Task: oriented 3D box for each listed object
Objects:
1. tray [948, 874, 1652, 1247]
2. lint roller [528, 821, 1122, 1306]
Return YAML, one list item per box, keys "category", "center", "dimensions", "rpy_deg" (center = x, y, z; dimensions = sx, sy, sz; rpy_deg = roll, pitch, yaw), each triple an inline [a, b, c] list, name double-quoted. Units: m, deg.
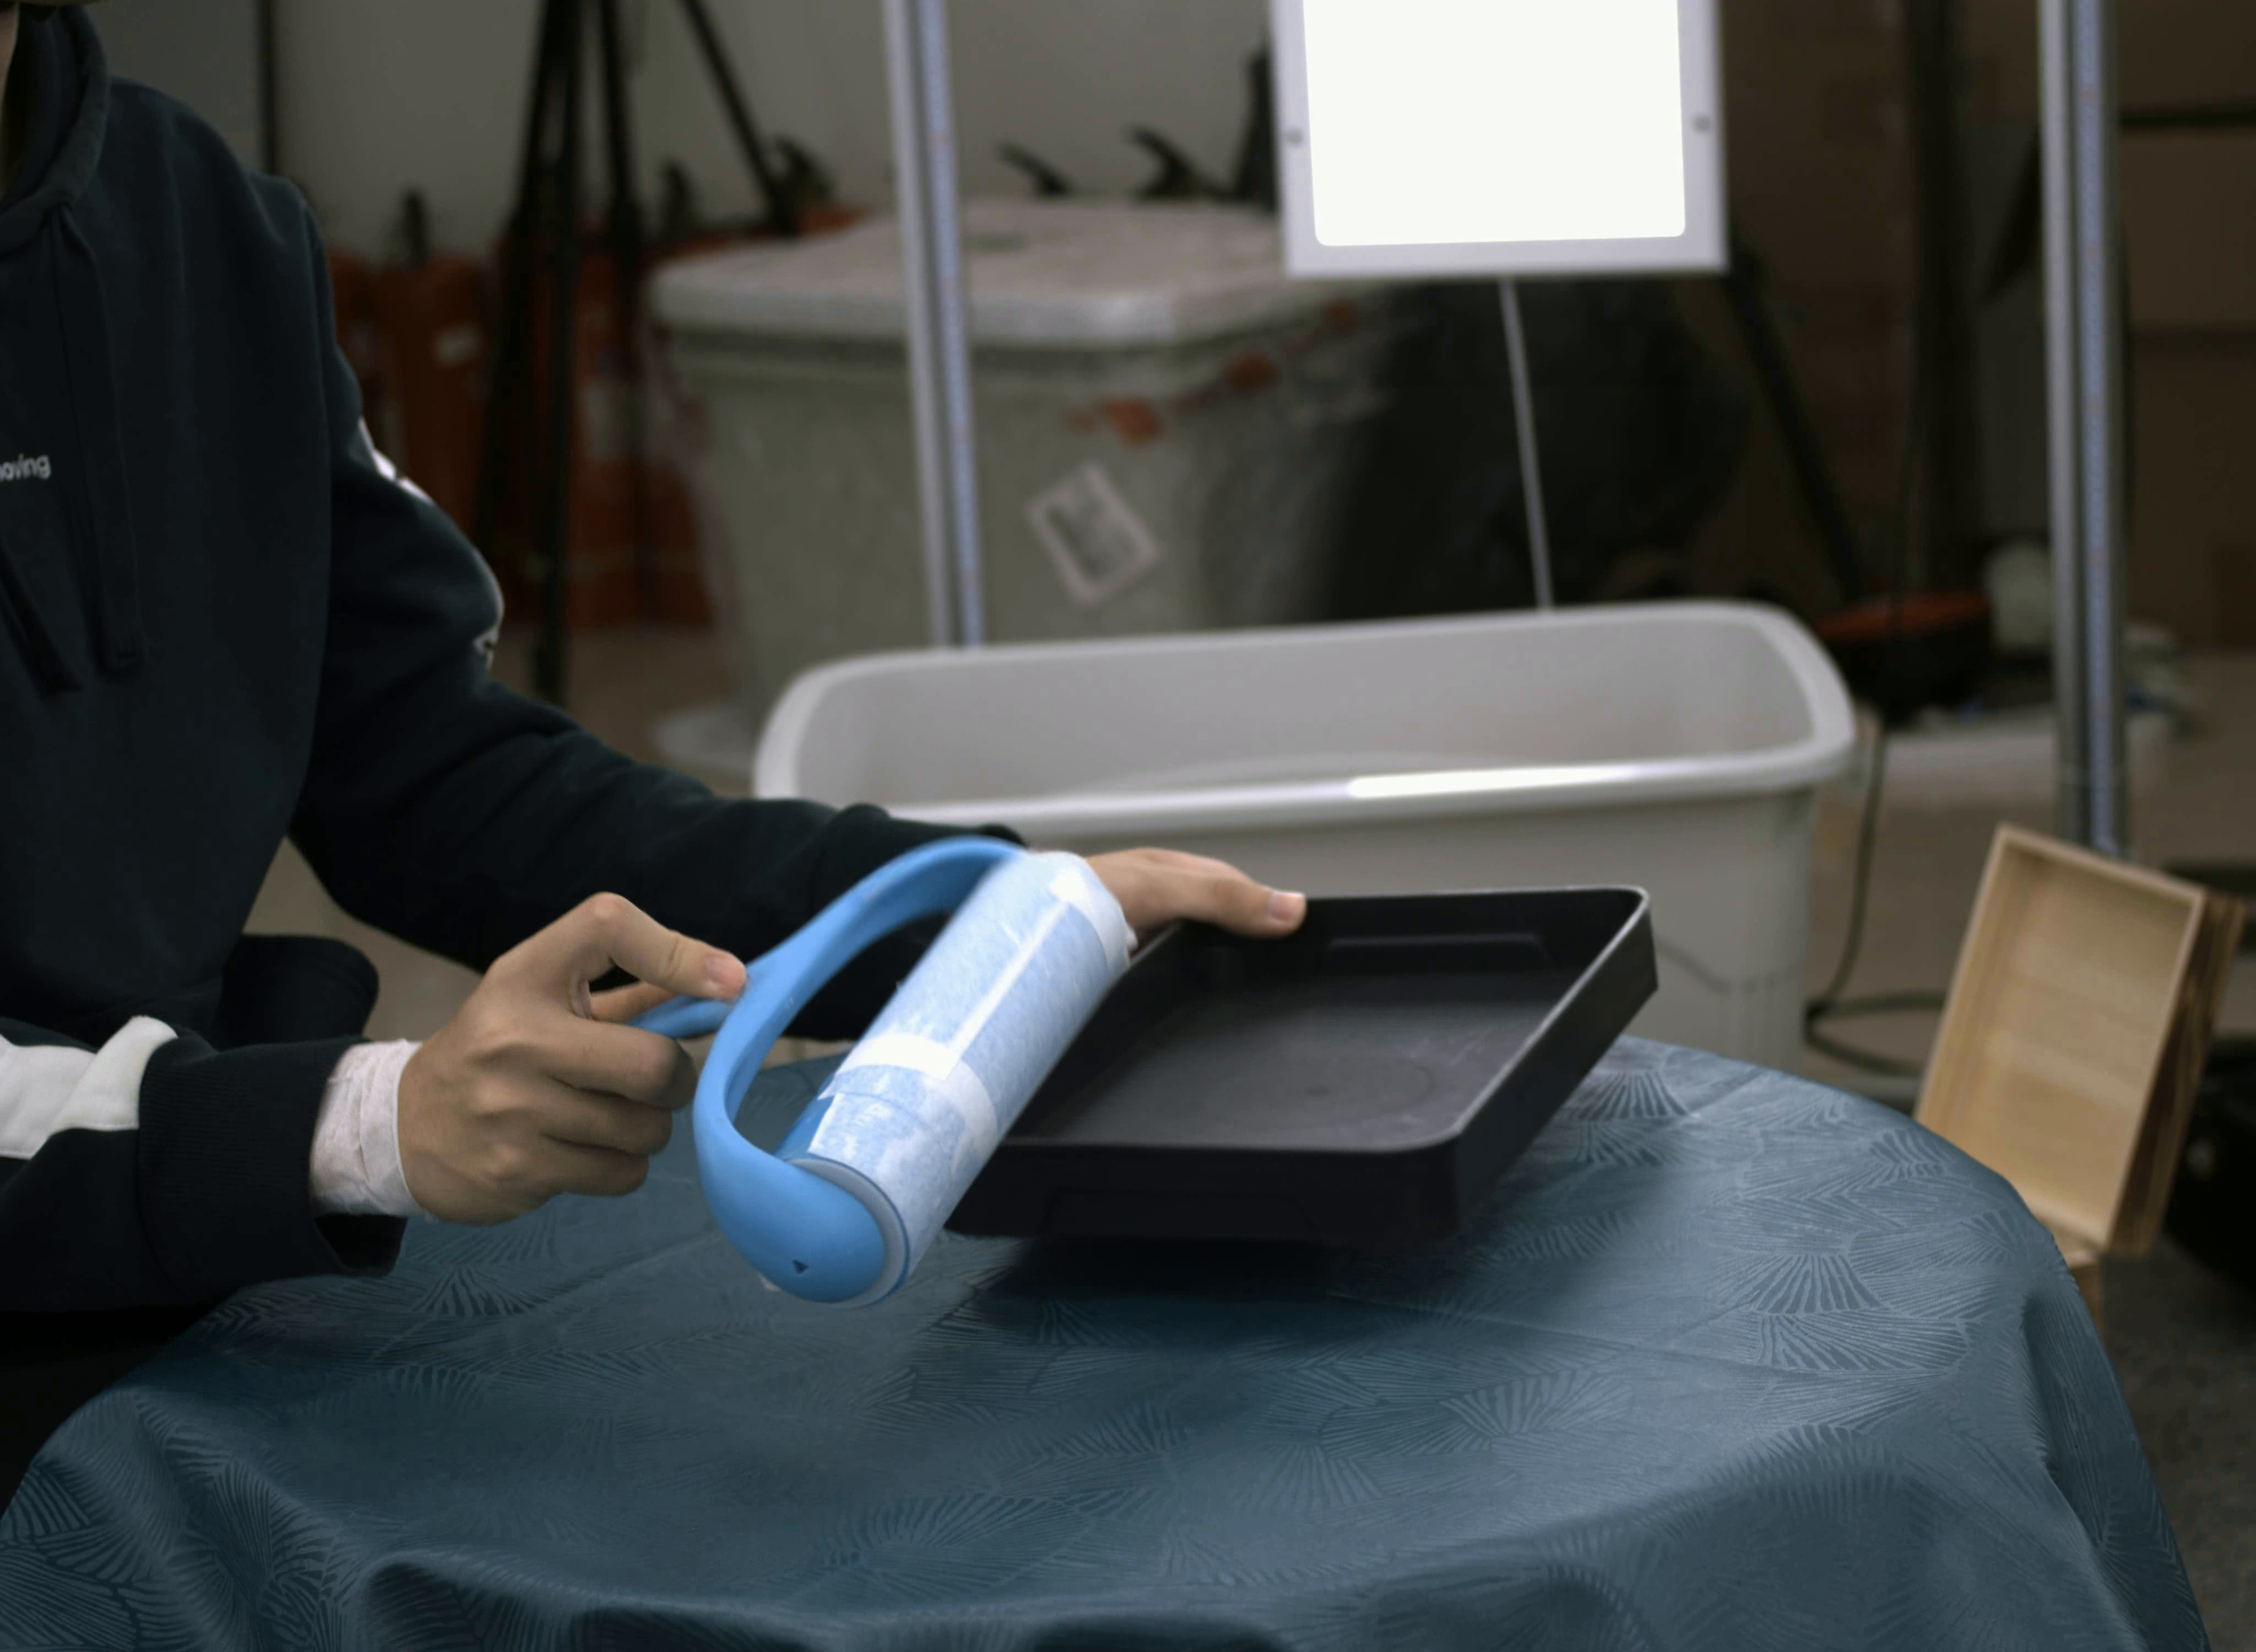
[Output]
- category: "tray"
  center: [0.065, 0.078, 1.900]
  dimensions: [0.187, 0.037, 0.313]
  rpy_deg: [-3, 14, 20]
- category: "lint roller"
  center: [-0.112, 0.075, 1.695]
  dimensions: [0.183, 0.068, 0.225]
  rpy_deg: [-5, 28, 21]
